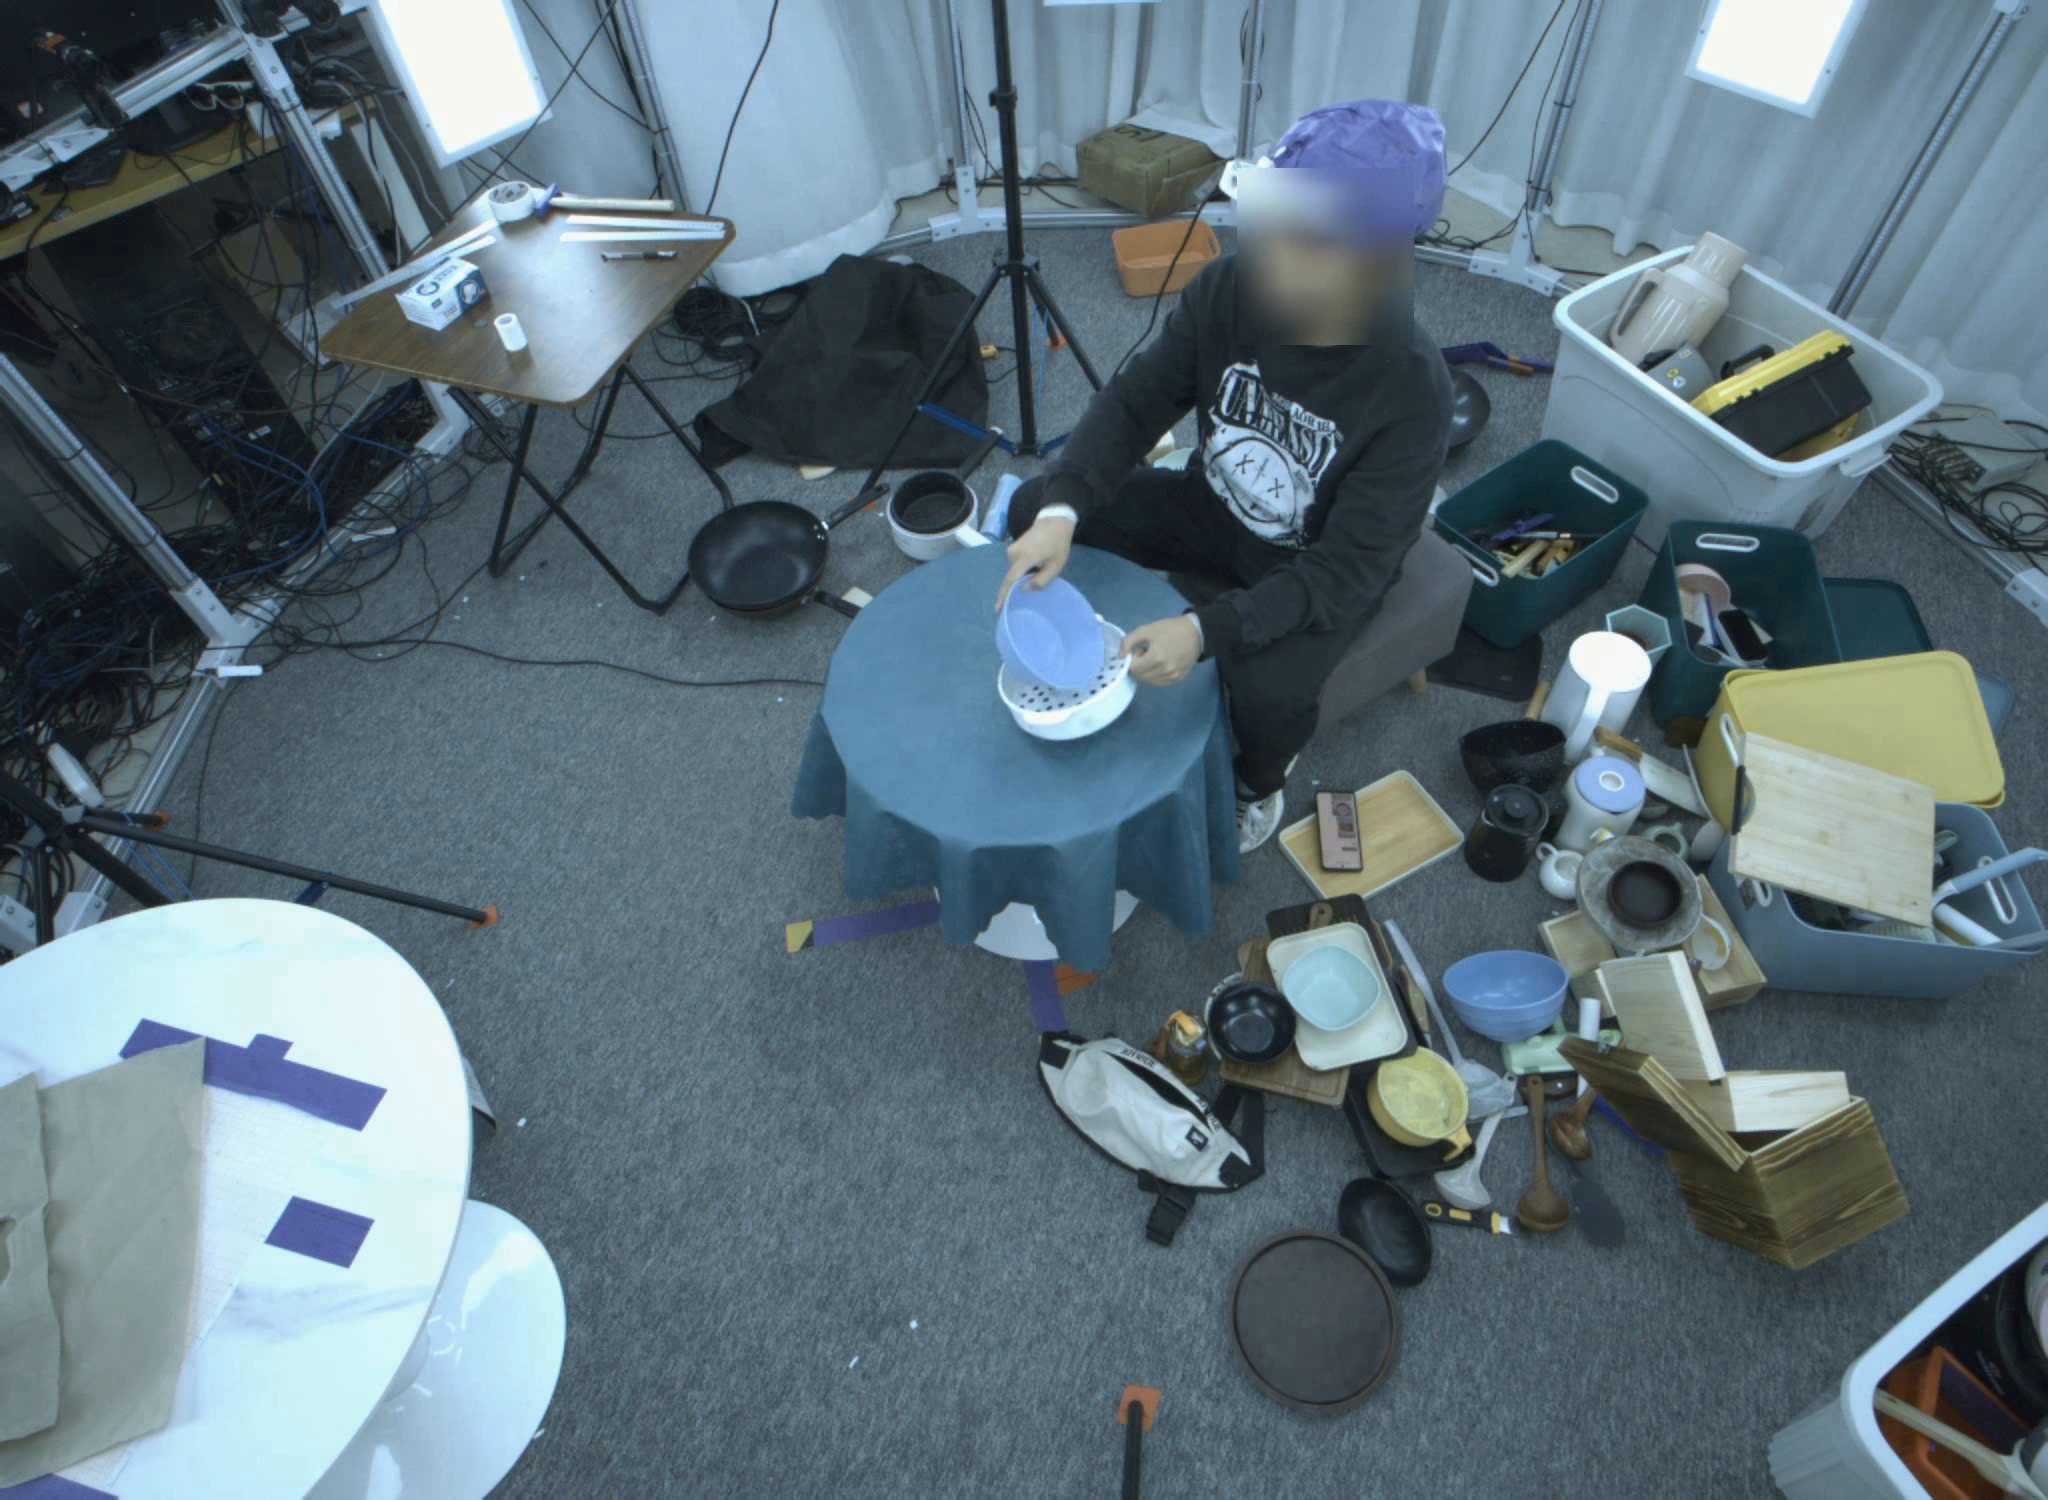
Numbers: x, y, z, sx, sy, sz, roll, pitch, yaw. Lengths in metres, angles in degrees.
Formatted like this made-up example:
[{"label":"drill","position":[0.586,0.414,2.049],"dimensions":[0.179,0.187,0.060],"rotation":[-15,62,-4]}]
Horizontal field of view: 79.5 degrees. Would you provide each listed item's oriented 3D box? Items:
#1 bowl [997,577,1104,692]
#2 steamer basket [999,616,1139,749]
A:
[{"label":"bowl","position":[0.026,-0.154,1.754],"dimensions":[0.180,0.069,0.174],"rotation":[17,62,-34]},{"label":"steamer basket","position":[0.068,-0.094,1.793],"dimensions":[0.199,0.070,0.229],"rotation":[0,51,23]}]
